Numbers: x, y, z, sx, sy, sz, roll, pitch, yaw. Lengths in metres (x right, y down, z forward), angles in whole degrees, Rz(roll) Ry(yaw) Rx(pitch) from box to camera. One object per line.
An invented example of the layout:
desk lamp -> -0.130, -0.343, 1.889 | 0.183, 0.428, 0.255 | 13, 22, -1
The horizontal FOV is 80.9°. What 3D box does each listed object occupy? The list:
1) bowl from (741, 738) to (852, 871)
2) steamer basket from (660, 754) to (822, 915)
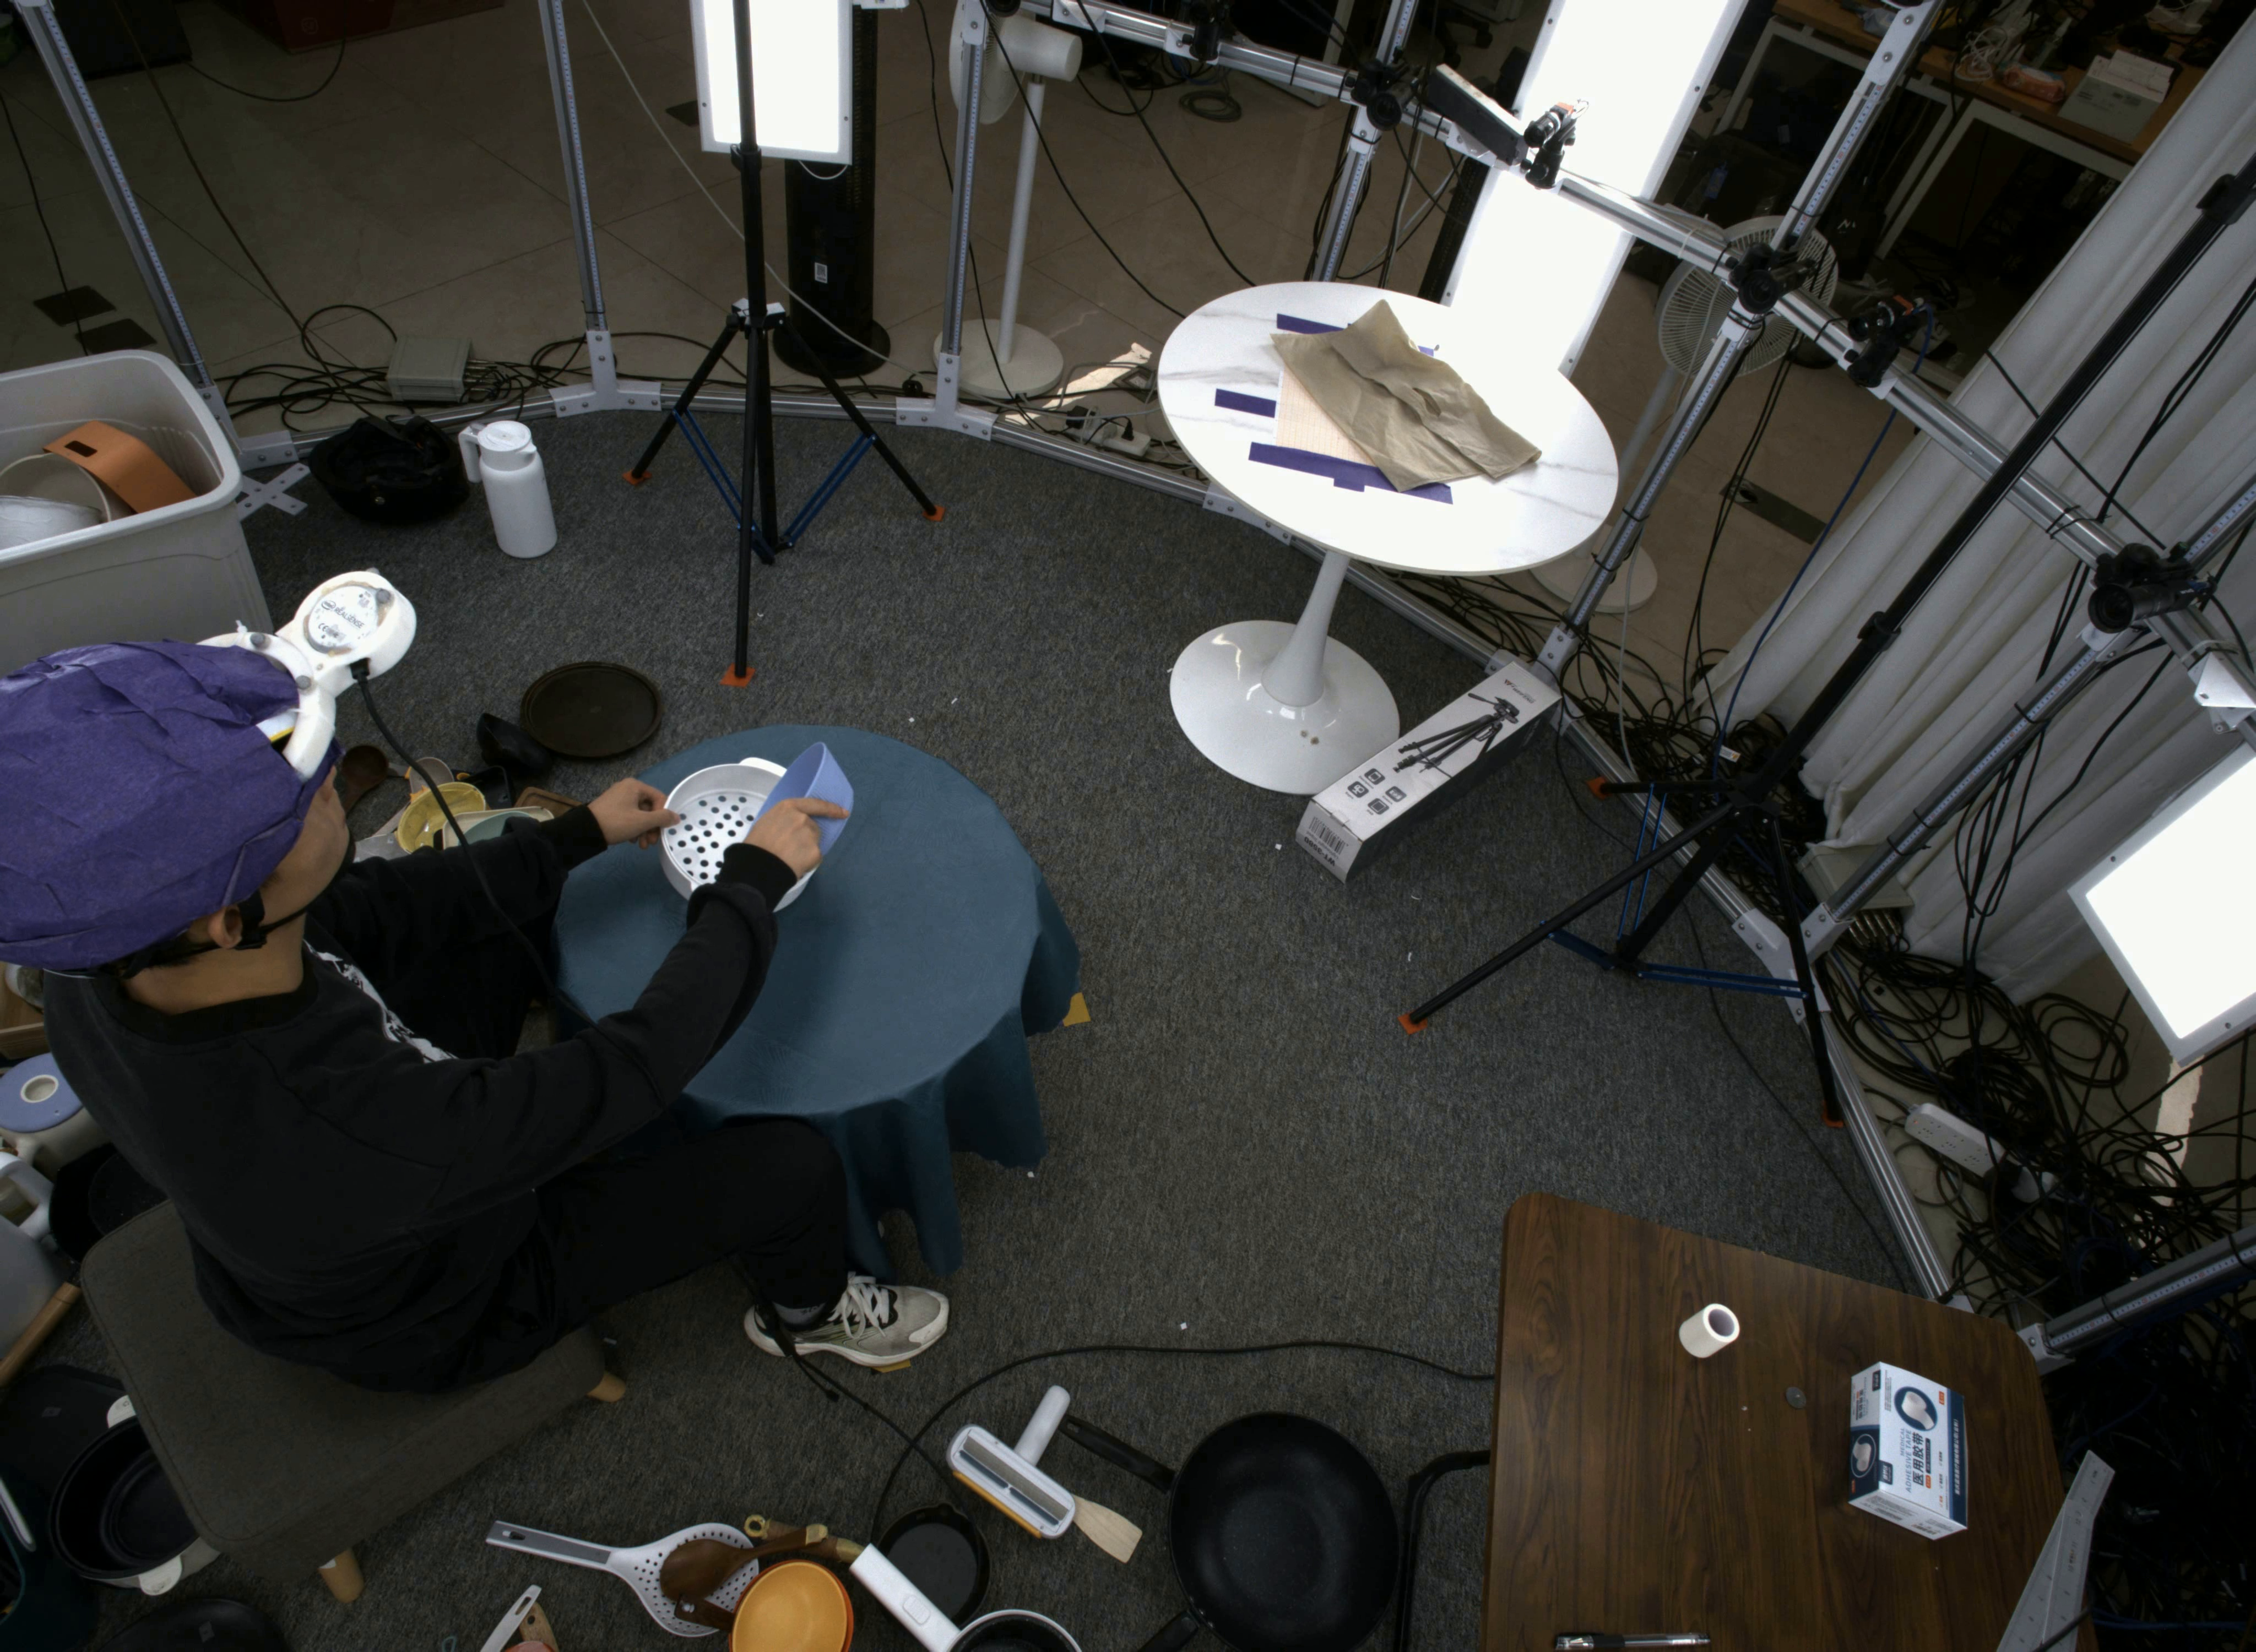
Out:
bowl -> -0.392, -0.015, 1.568 | 0.072, 0.174, 0.173 | 34, 45, -25
steamer basket -> -0.490, 0.015, 1.636 | 0.204, 0.069, 0.227 | 20, 50, -16
